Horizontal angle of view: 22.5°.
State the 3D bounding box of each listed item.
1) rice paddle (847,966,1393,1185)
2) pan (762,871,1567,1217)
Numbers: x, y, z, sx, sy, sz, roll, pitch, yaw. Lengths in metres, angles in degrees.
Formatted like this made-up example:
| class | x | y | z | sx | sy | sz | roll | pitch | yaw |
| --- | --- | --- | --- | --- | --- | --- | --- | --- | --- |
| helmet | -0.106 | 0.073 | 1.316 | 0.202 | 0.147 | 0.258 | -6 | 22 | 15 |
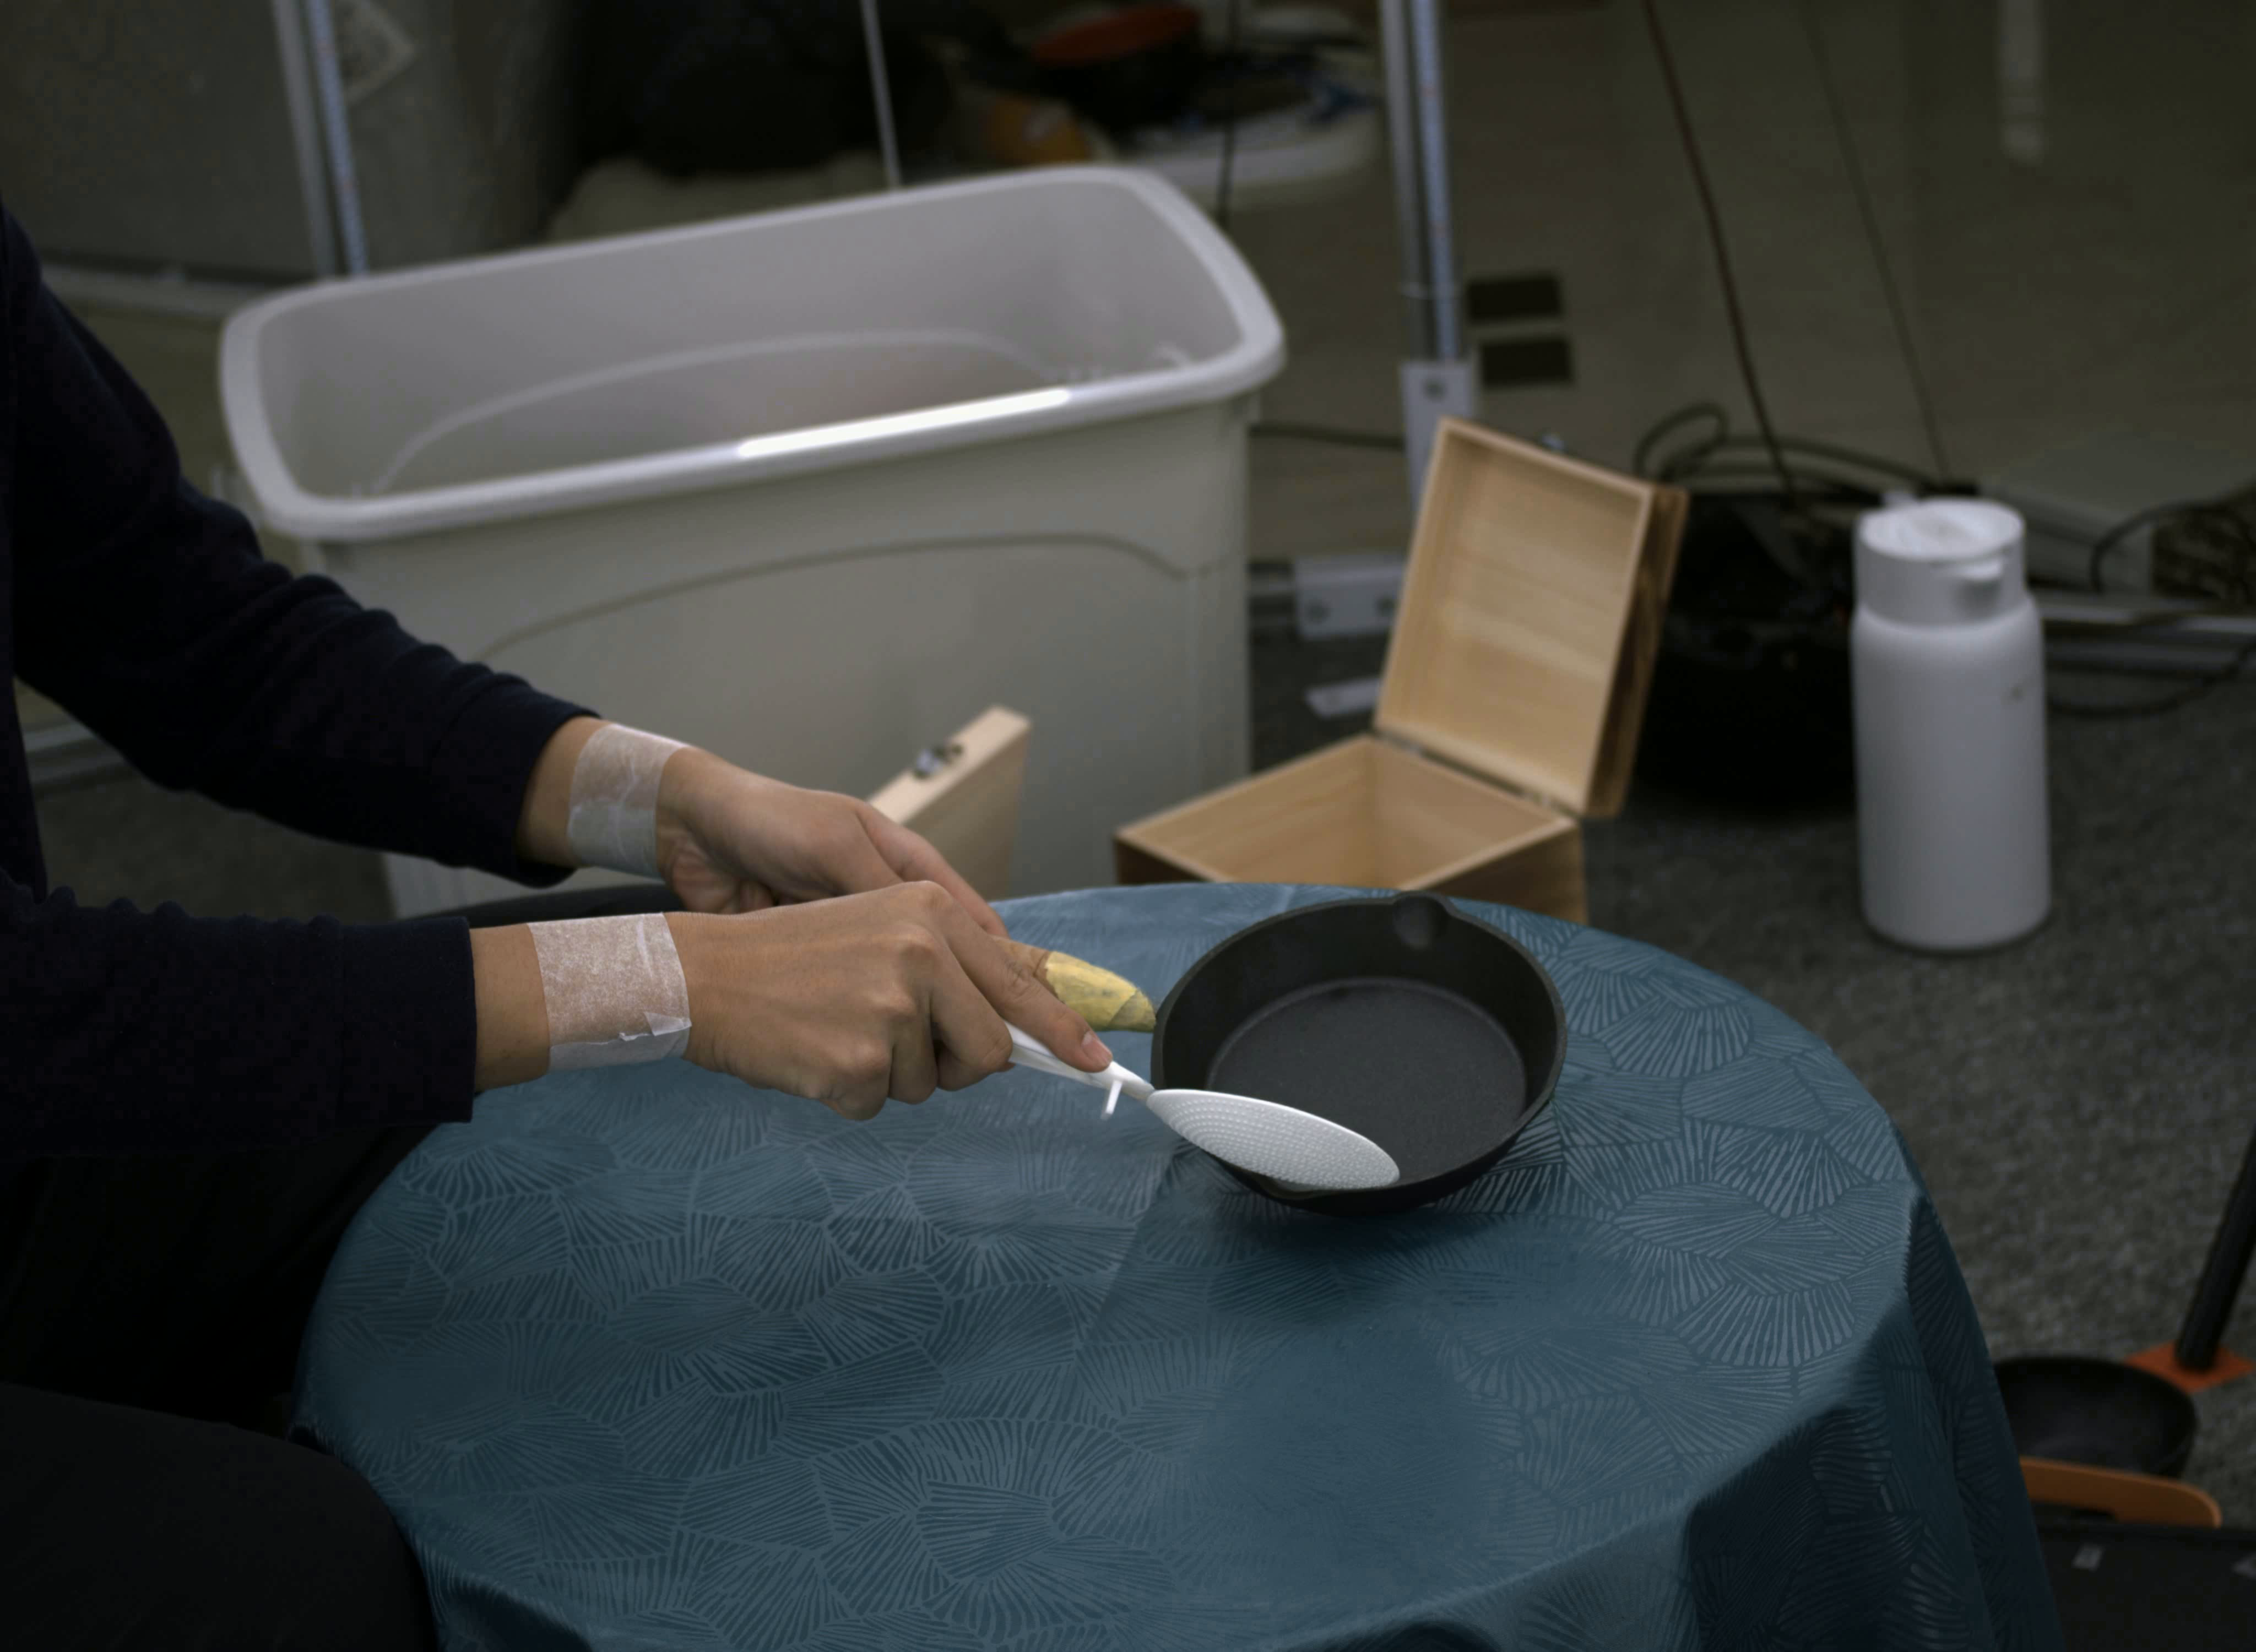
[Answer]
| class | x | y | z | sx | sy | sz | roll | pitch | yaw |
| --- | --- | --- | --- | --- | --- | --- | --- | --- | --- |
| rice paddle | 0.000 | 0.095 | 2.052 | 0.205 | 0.029 | 0.069 | 18 | -17 | -8 |
| pan | 0.010 | 0.070 | 2.170 | 0.323 | 0.050 | 0.166 | 13 | 46 | 19 |
